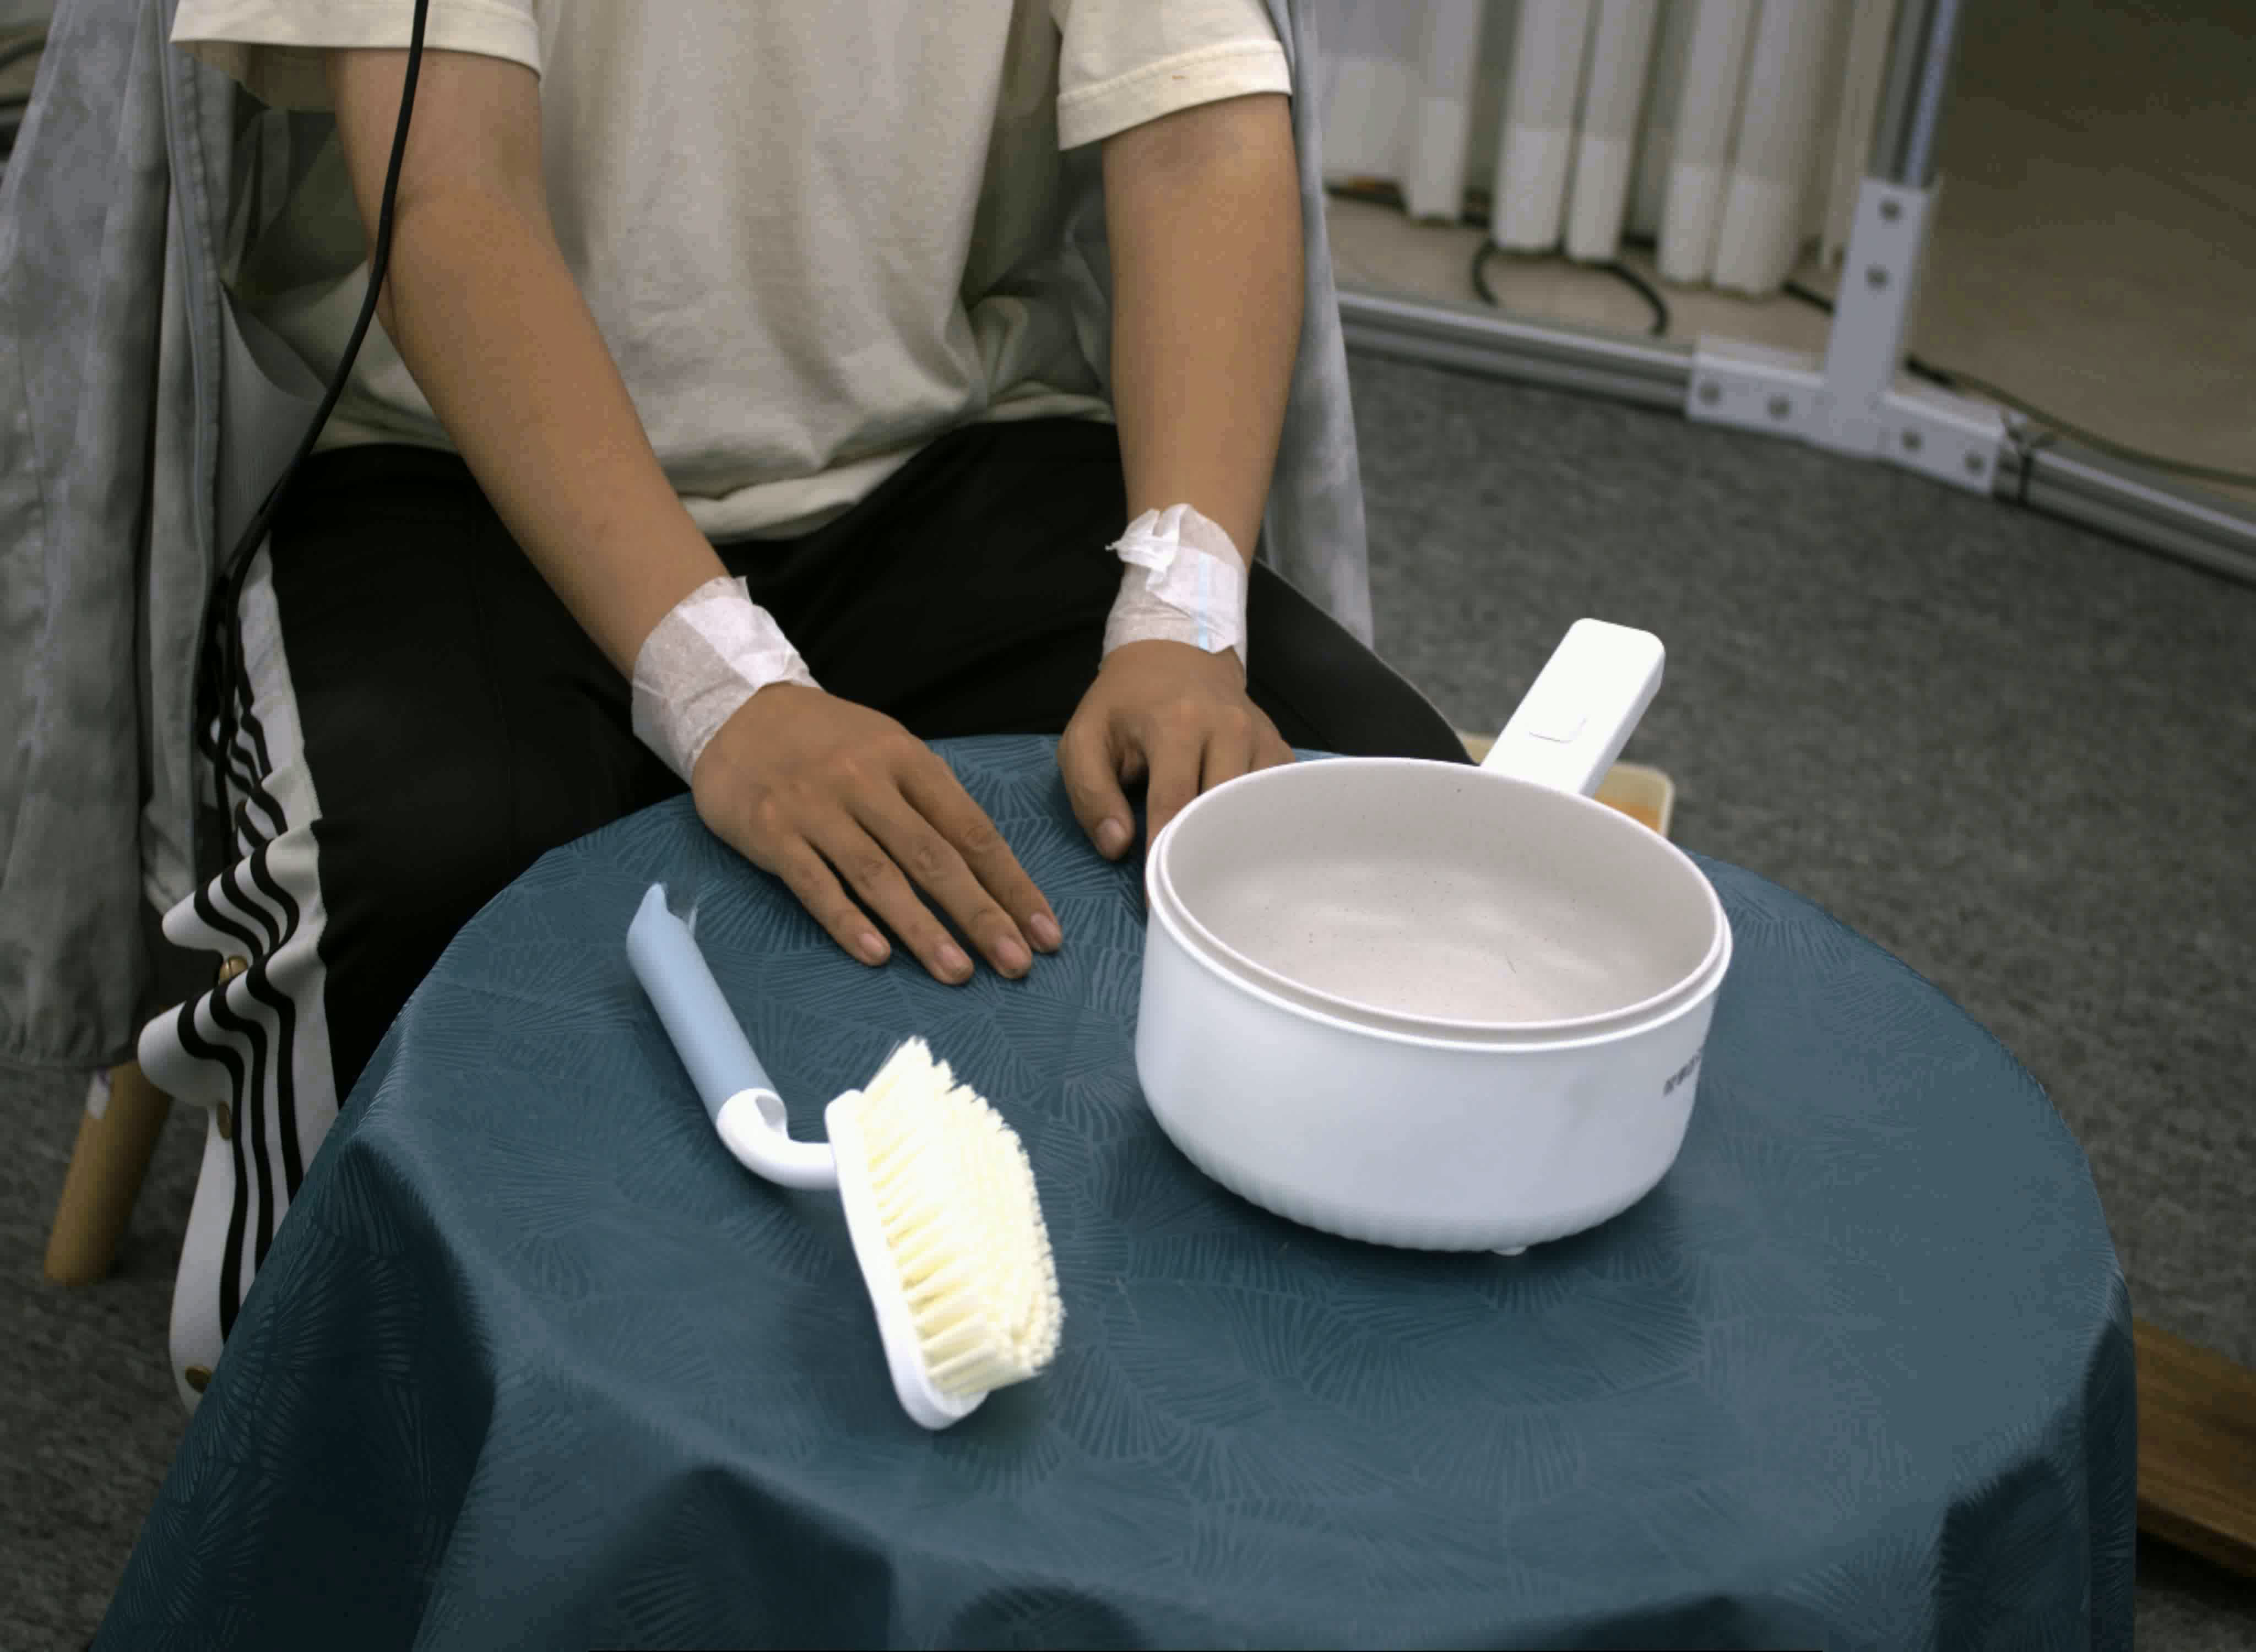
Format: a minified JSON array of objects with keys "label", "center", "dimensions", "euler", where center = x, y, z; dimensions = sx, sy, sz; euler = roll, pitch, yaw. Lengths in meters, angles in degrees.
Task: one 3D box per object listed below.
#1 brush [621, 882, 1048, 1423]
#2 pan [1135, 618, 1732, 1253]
[{"label":"brush","center":[-0.094,0.081,1.776],"dimensions":[0.084,0.083,0.328],"euler":[-10,32,-16]},{"label":"pan","center":[0.126,0.034,1.898],"dimensions":[0.201,0.102,0.355],"euler":[14,27,14]}]
